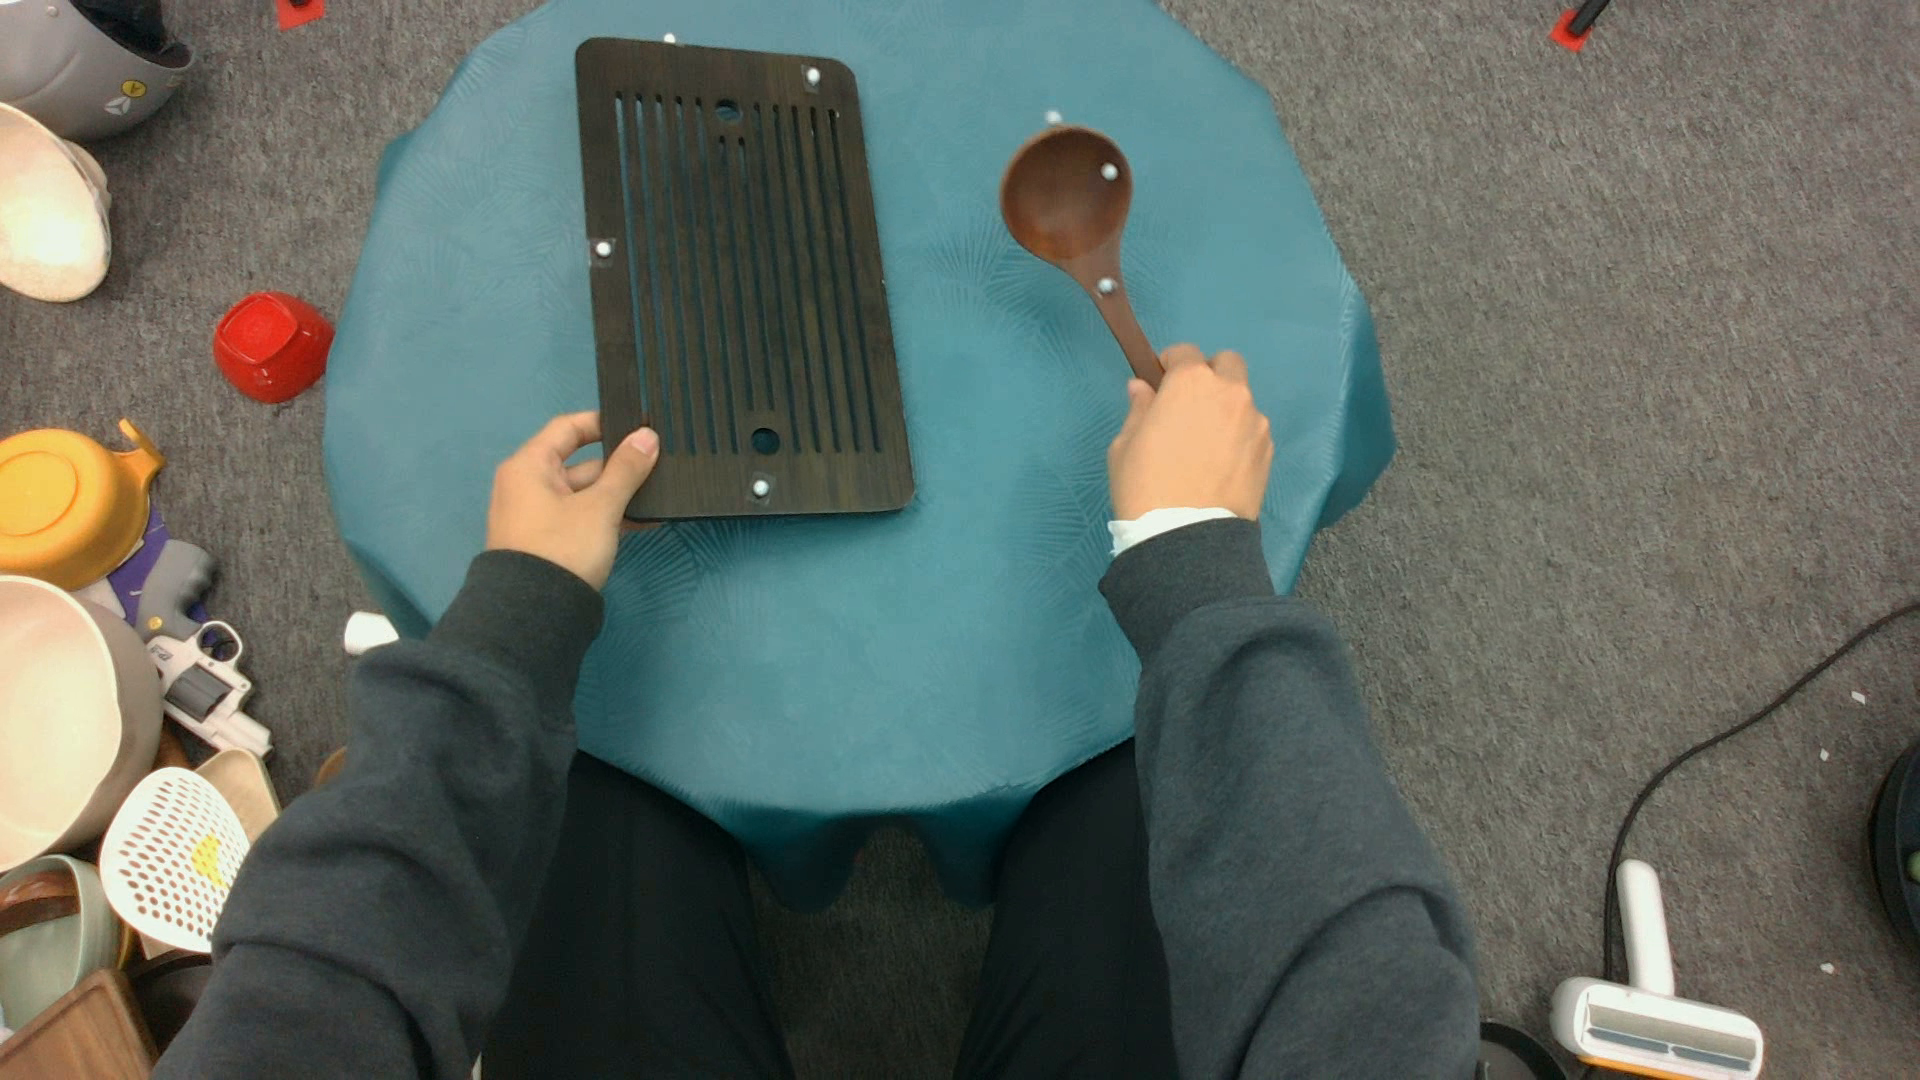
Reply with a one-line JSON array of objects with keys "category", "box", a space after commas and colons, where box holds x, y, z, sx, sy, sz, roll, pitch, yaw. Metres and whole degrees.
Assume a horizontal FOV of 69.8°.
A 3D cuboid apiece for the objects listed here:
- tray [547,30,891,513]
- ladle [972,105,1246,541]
[{"category": "tray", "box": [-0.142, -0.159, 0.795, 0.170, 0.018, 0.306, -2, 70, -20]}, {"category": "ladle", "box": [0.087, -0.117, 0.749, 0.076, 0.065, 0.260, -28, 80, 11]}]
